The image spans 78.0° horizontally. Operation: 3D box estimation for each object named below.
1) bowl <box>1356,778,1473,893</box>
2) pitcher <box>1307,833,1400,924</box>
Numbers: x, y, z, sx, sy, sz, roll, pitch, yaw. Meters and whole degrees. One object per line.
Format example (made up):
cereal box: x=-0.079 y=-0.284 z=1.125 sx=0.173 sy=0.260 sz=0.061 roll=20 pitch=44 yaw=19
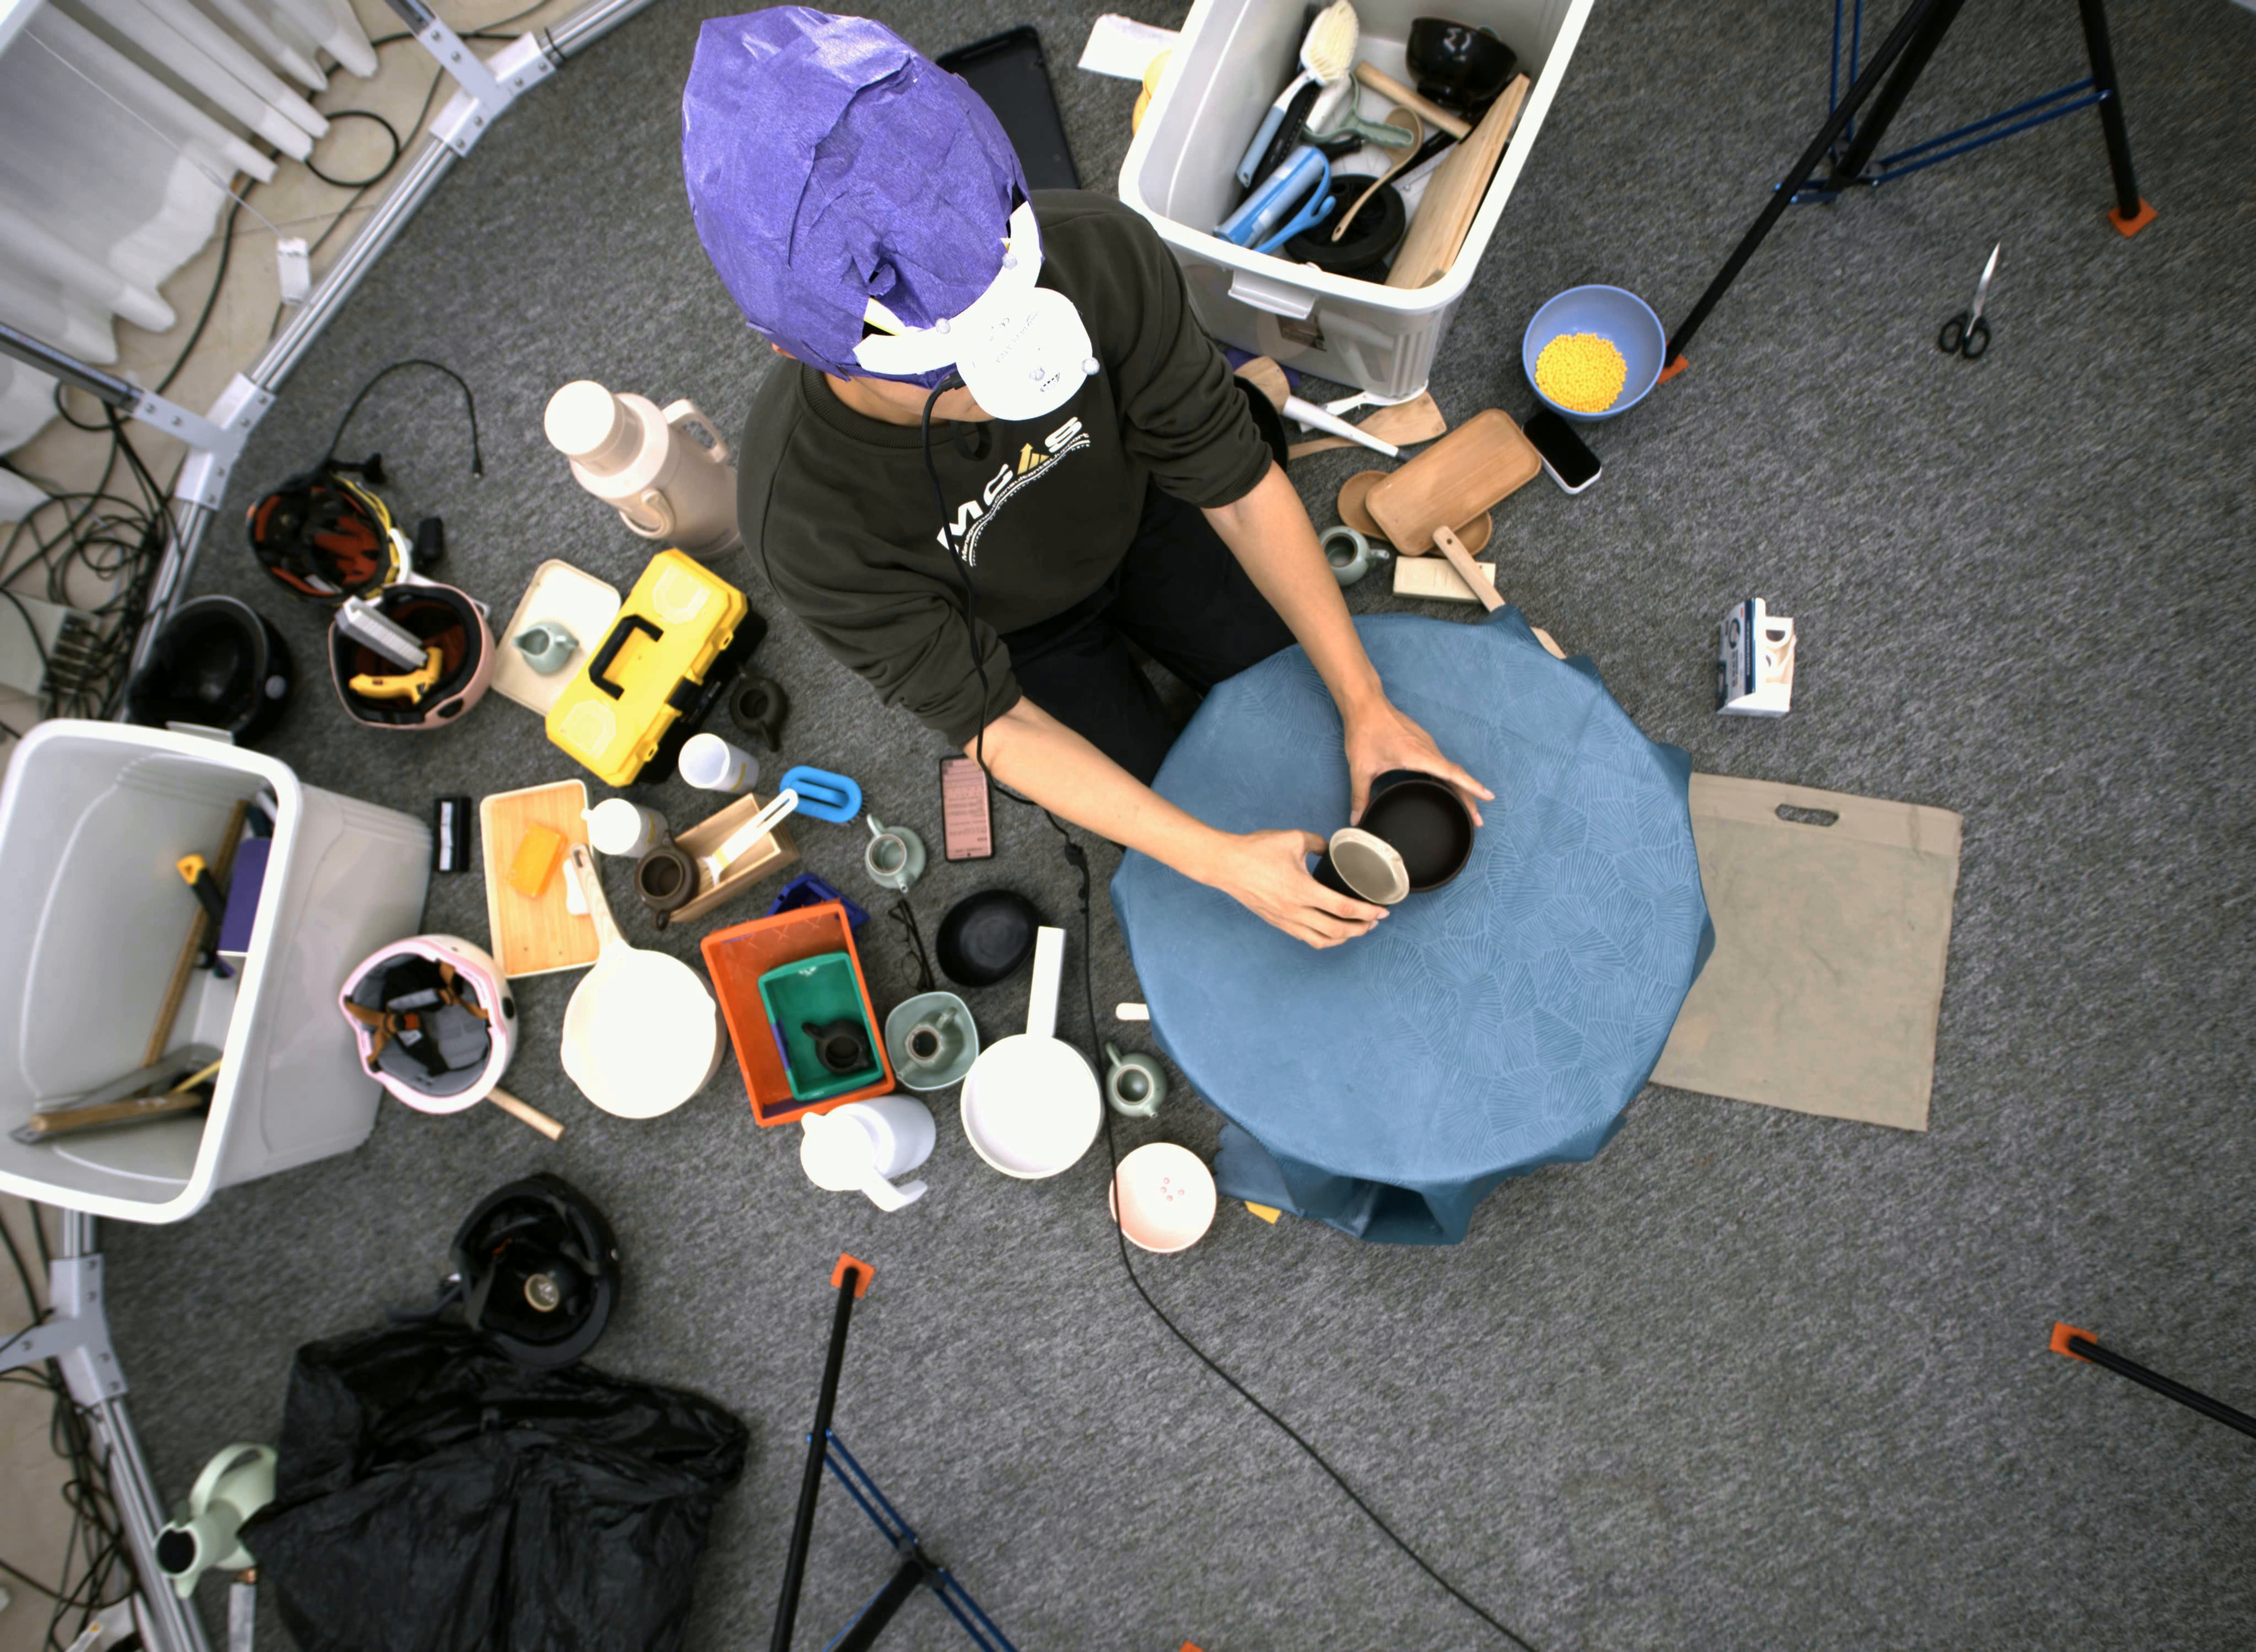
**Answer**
bowl: x=0.295 y=0.009 z=1.423 sx=0.118 sy=0.070 sz=0.118 roll=0 pitch=89 yaw=10
pitcher: x=0.221 y=0.055 z=1.373 sx=0.082 sy=0.095 sz=0.073 roll=56 pitch=136 yaw=23
